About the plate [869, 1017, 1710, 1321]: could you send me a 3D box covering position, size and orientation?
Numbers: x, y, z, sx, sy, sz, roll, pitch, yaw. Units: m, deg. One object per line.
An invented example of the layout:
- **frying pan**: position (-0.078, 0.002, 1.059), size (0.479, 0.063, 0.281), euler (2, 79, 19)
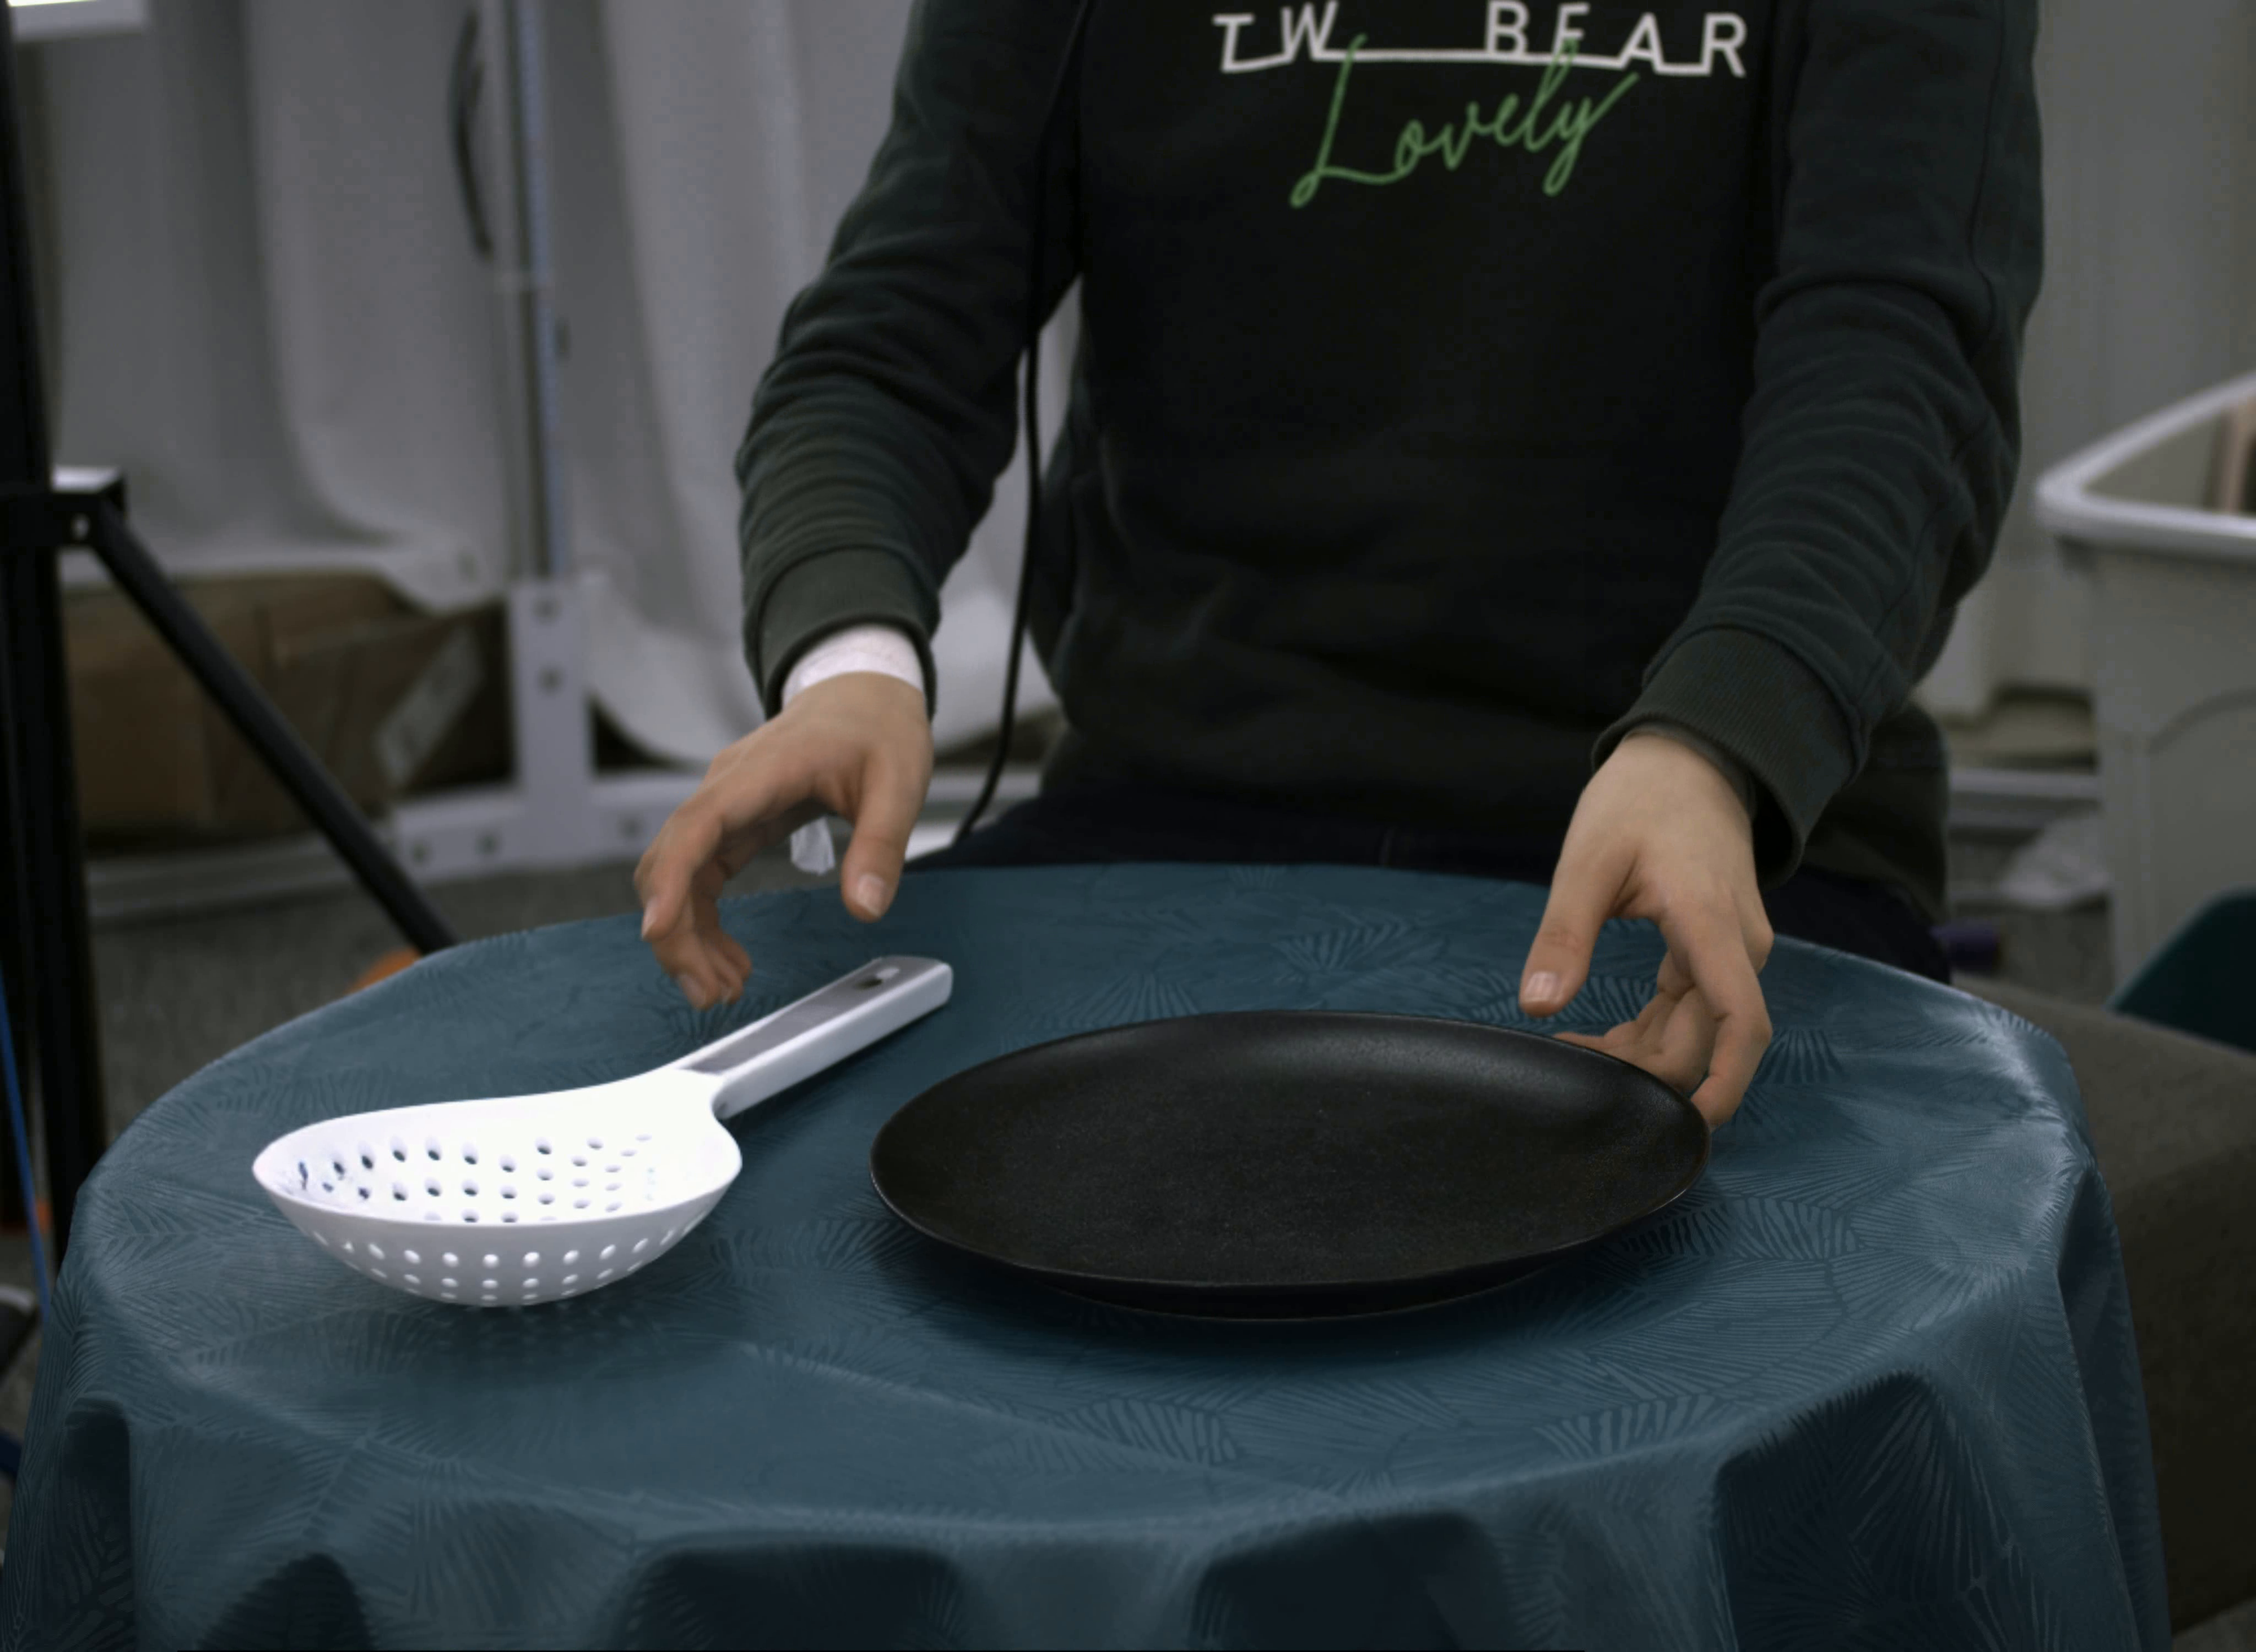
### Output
- **plate**: position (0.047, 0.101, 1.532), size (0.243, 0.023, 0.245), euler (-3, 16, -1)

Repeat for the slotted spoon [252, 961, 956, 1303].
- **slotted spoon**: position (-0.135, 0.082, 1.591), size (0.138, 0.046, 0.345), euler (6, 17, 22)
